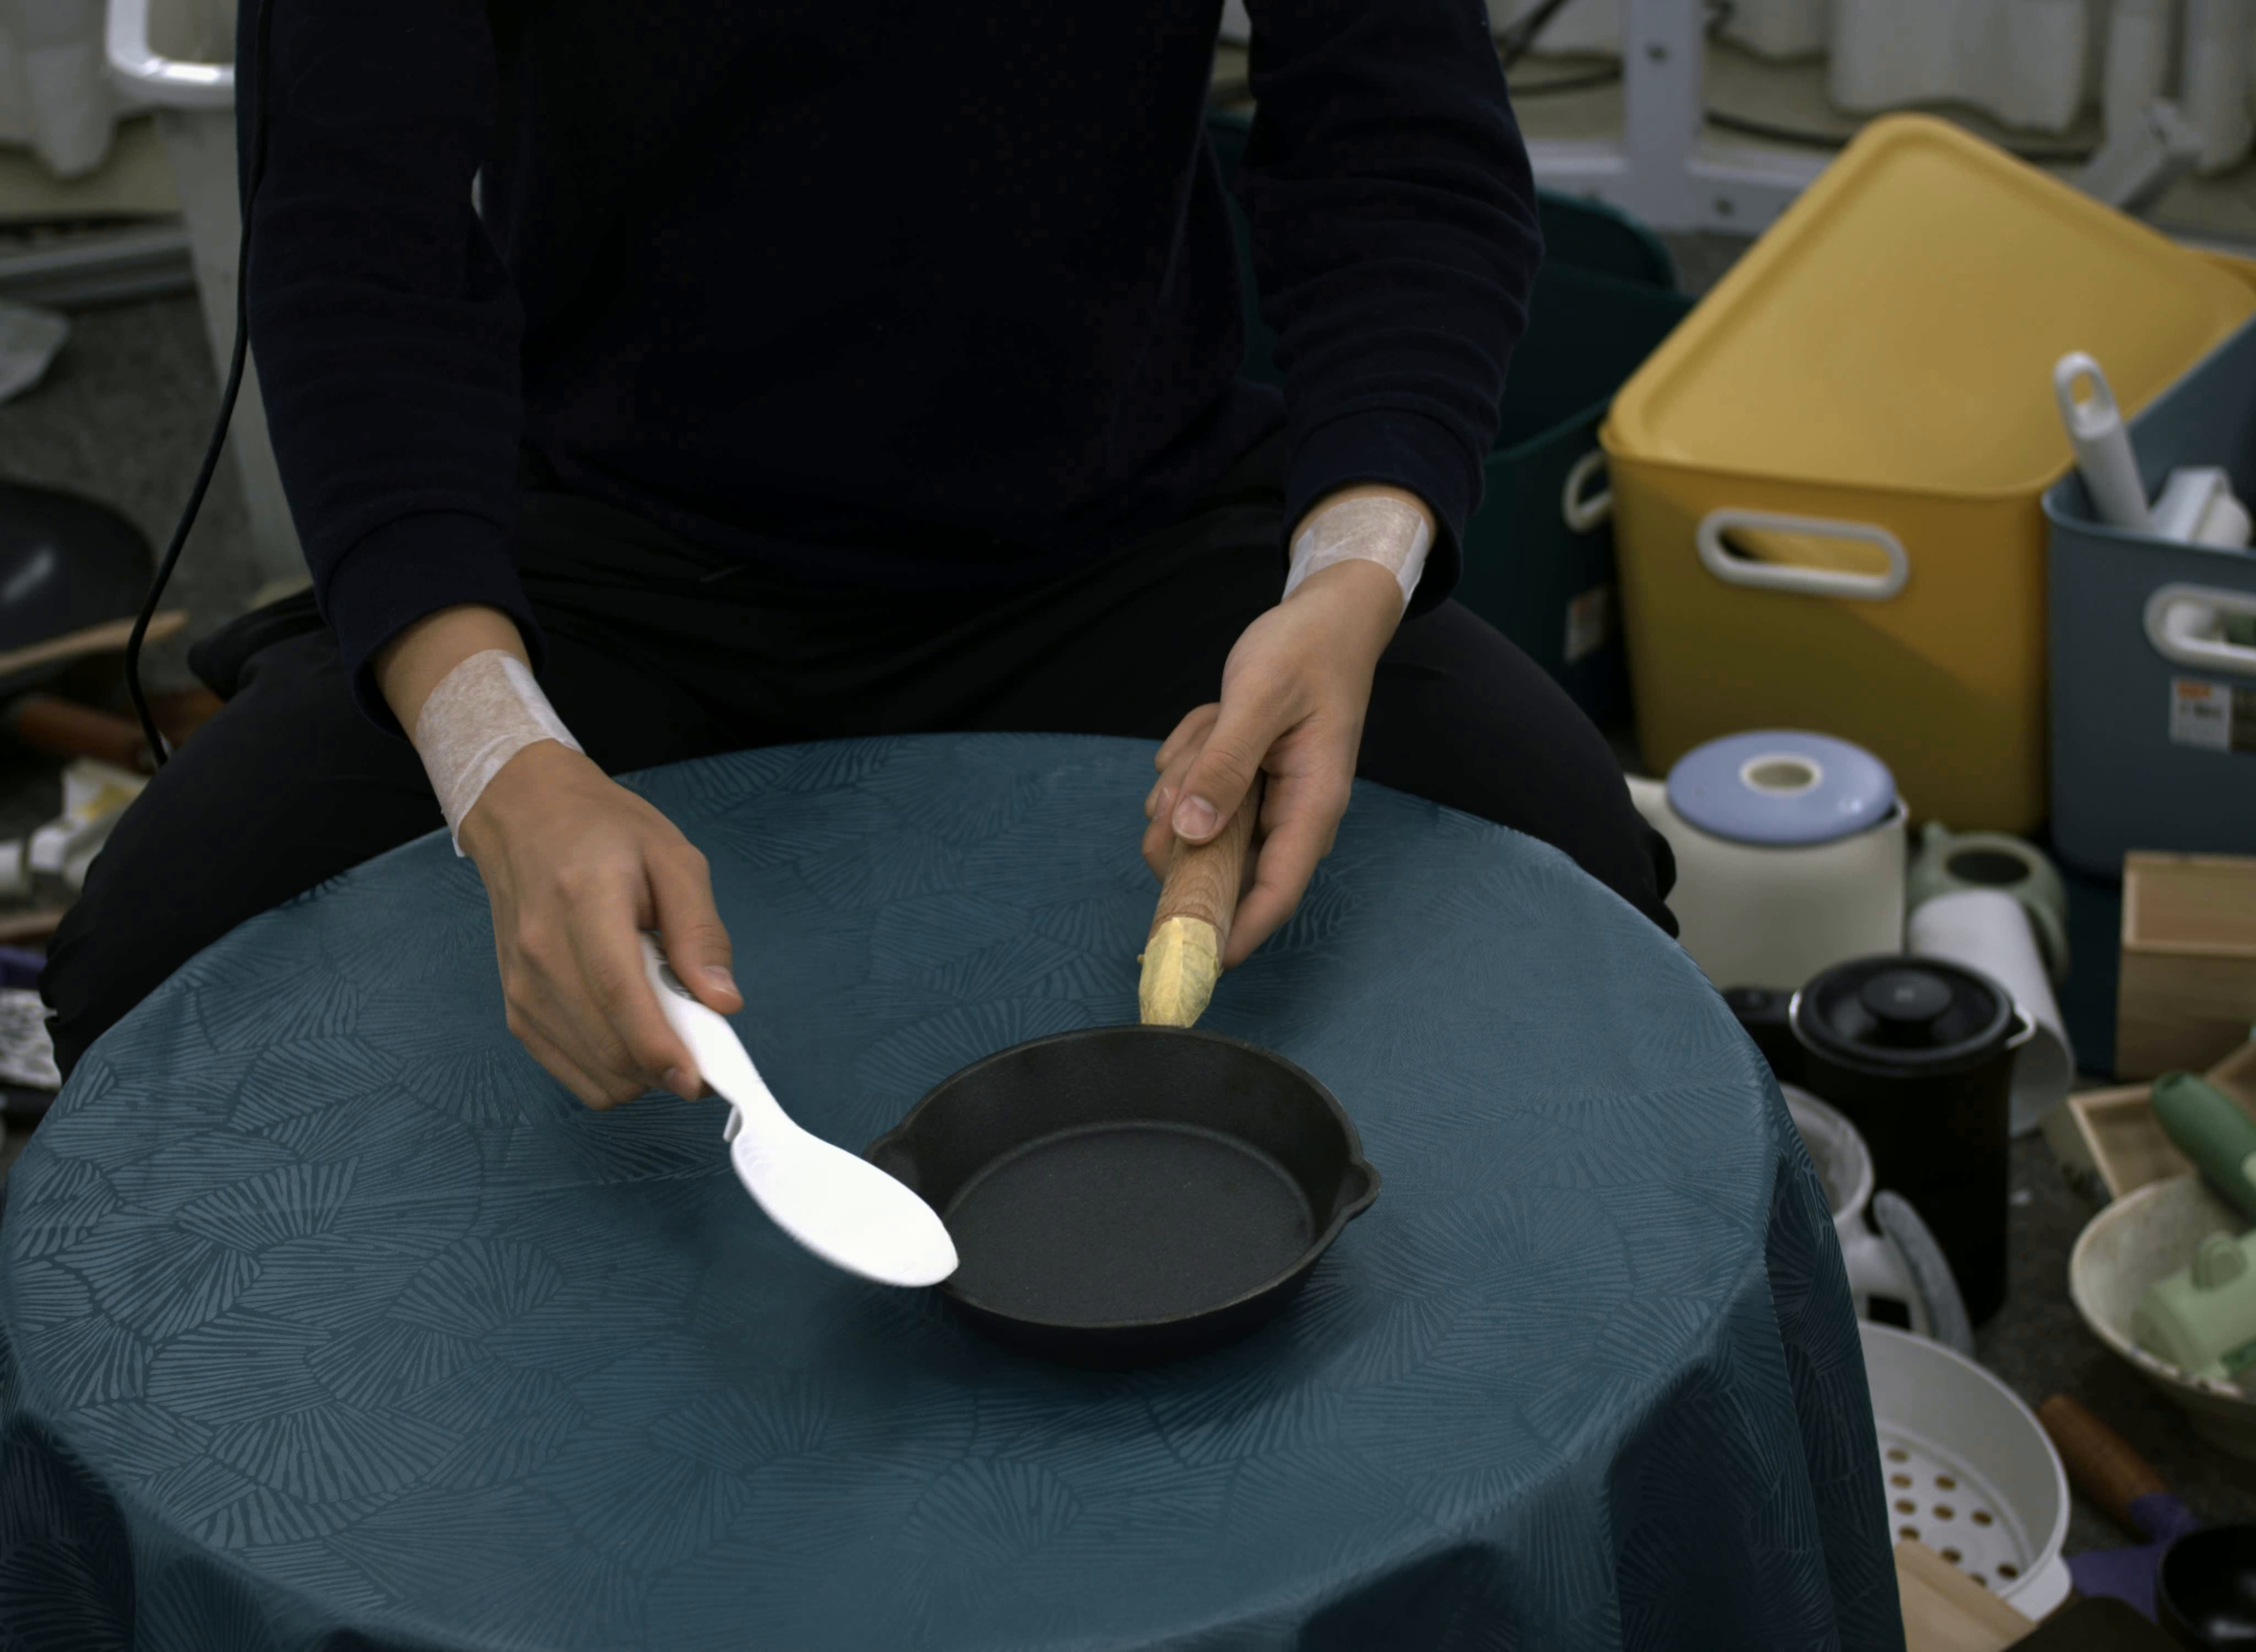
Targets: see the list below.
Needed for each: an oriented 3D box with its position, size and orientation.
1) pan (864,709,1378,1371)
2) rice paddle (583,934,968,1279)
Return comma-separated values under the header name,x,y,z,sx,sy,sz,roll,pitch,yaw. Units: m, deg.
name,x,y,z,sx,sy,sz,roll,pitch,yaw
pan,0.015,0.069,1.877,0.168,0.049,0.330,4,36,12
rice paddle,-0.115,0.093,1.809,0.069,0.029,0.206,13,17,-39
